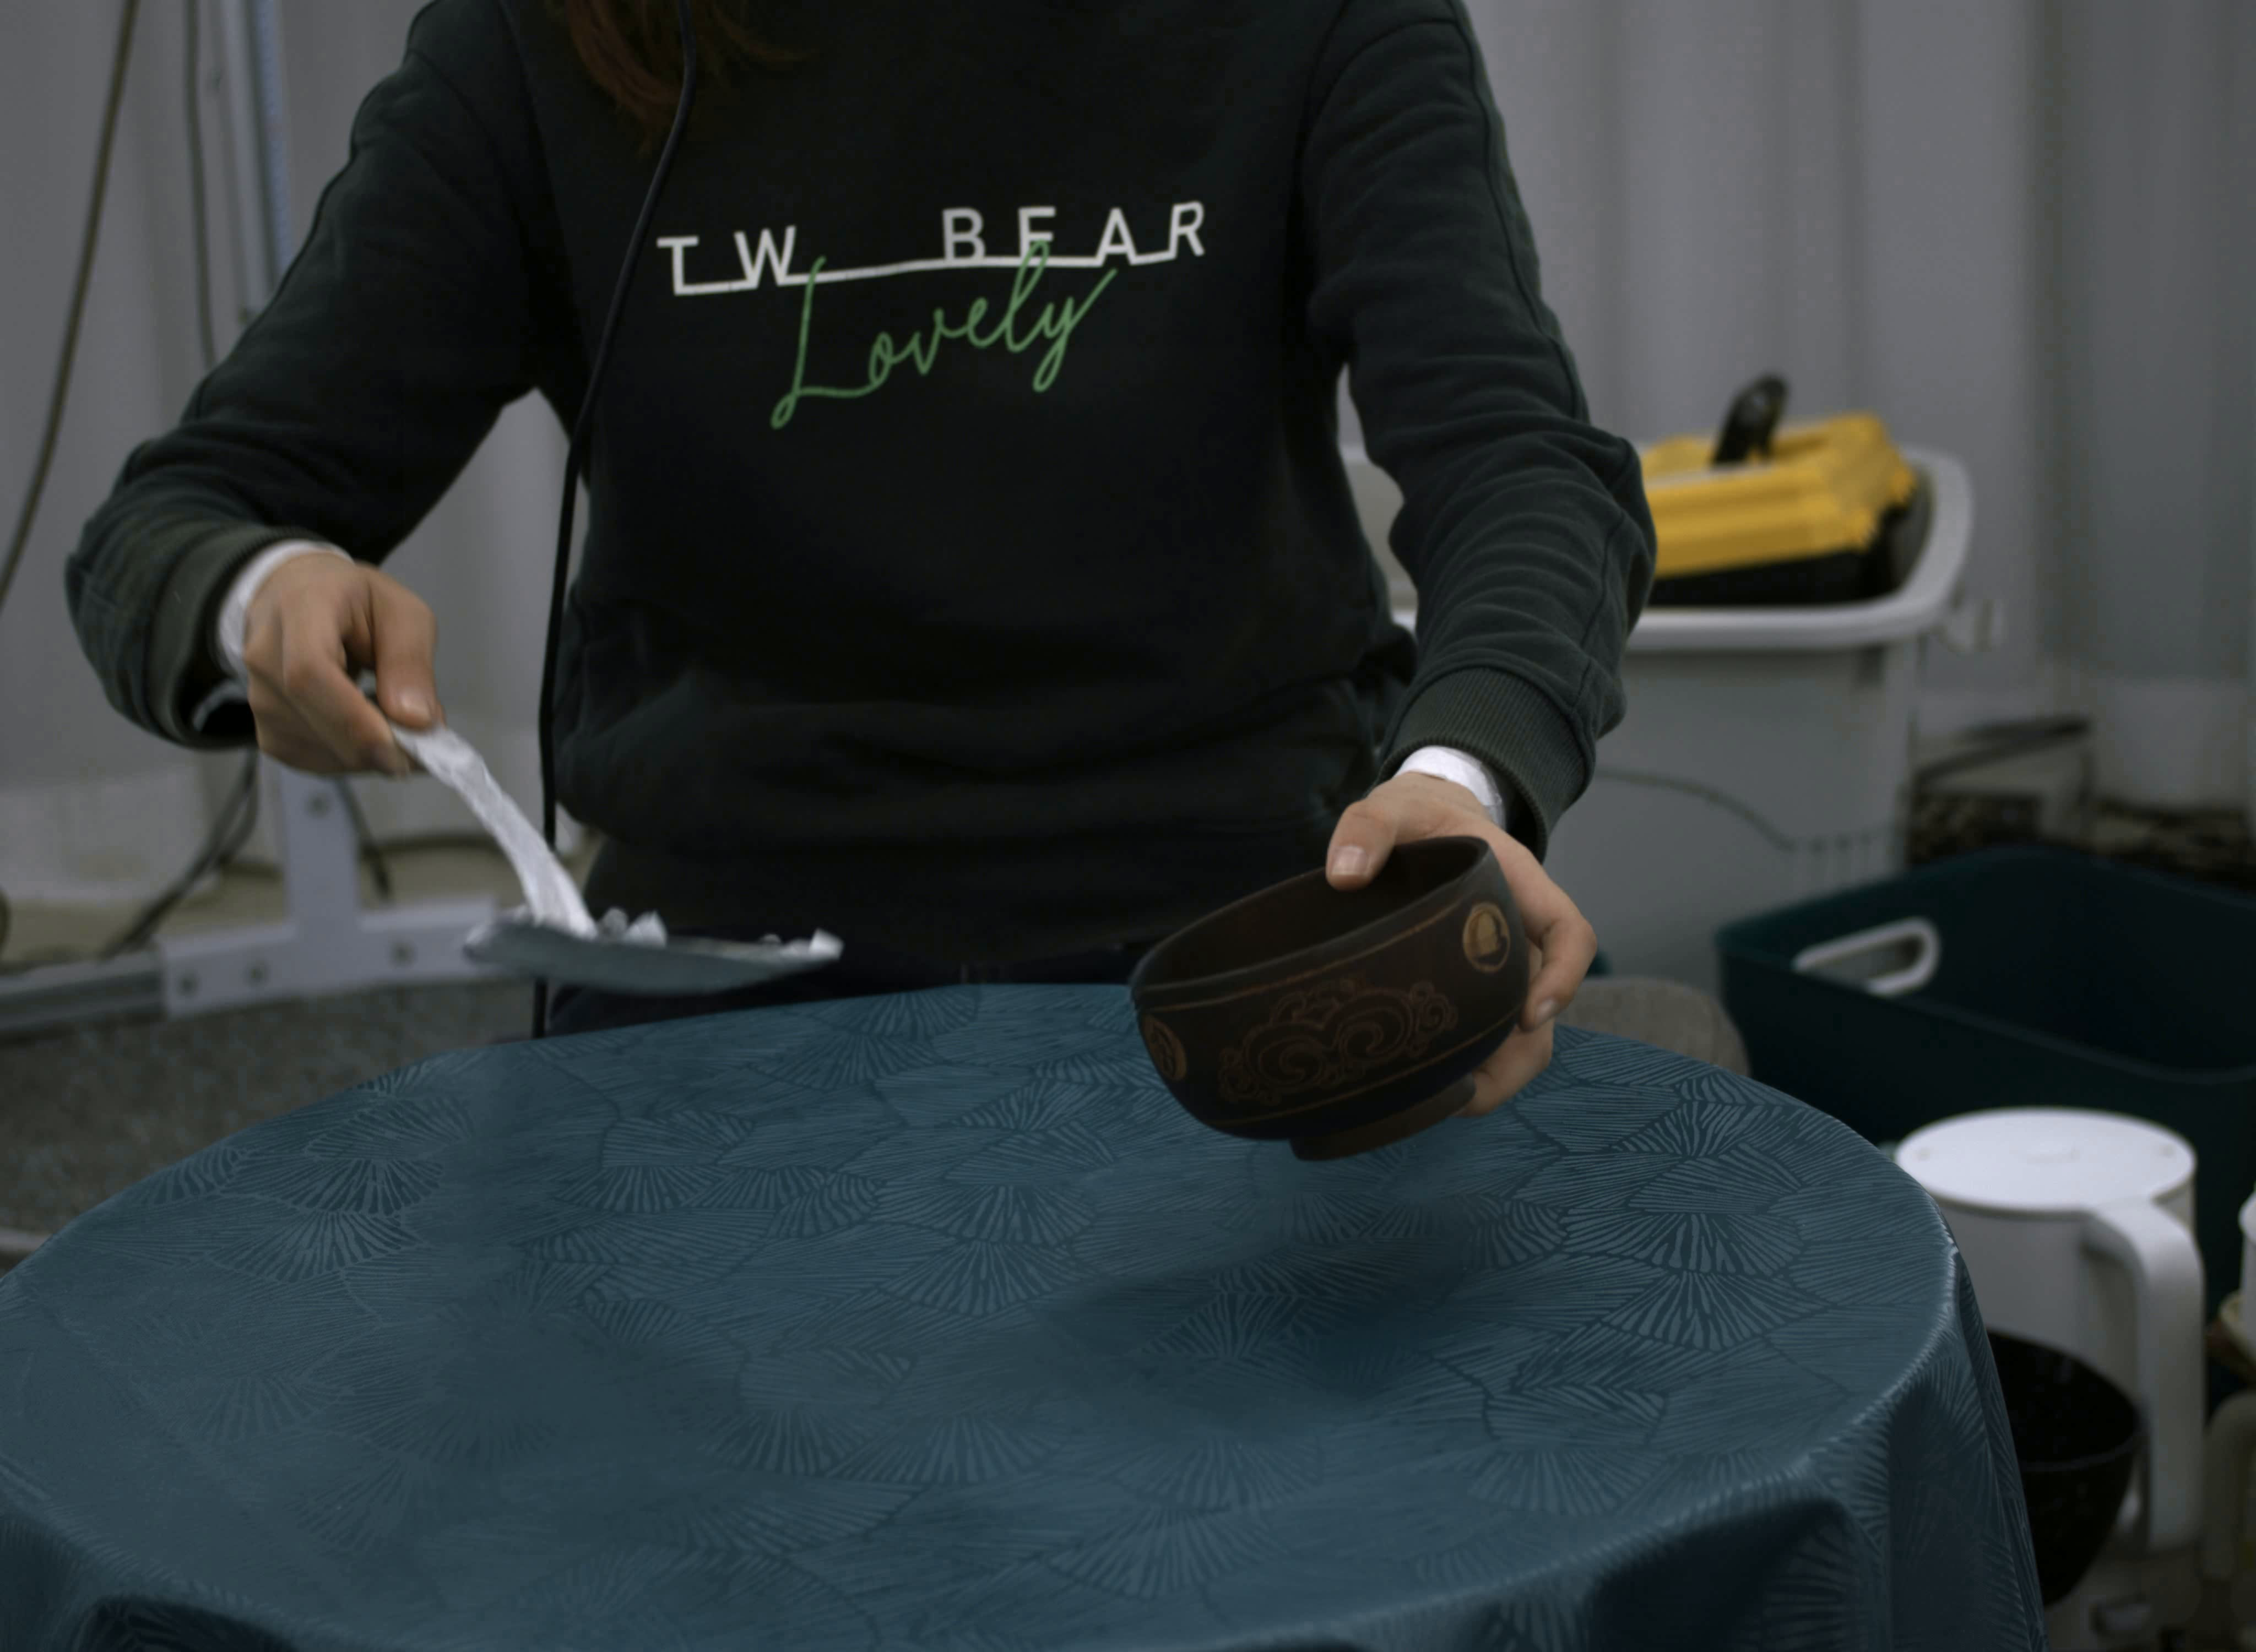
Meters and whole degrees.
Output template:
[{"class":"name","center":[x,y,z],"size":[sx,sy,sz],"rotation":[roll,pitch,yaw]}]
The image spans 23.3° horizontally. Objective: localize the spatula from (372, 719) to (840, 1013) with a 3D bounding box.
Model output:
[{"class":"spatula","center":[-0.181,0.002,1.632],"size":[0.098,0.044,0.368],"rotation":[5,15,-22]}]

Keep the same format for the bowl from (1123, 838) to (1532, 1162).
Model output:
[{"class":"bowl","center":[0.063,0.056,1.601],"size":[0.118,0.070,0.118],"rotation":[-18,8,2]}]
